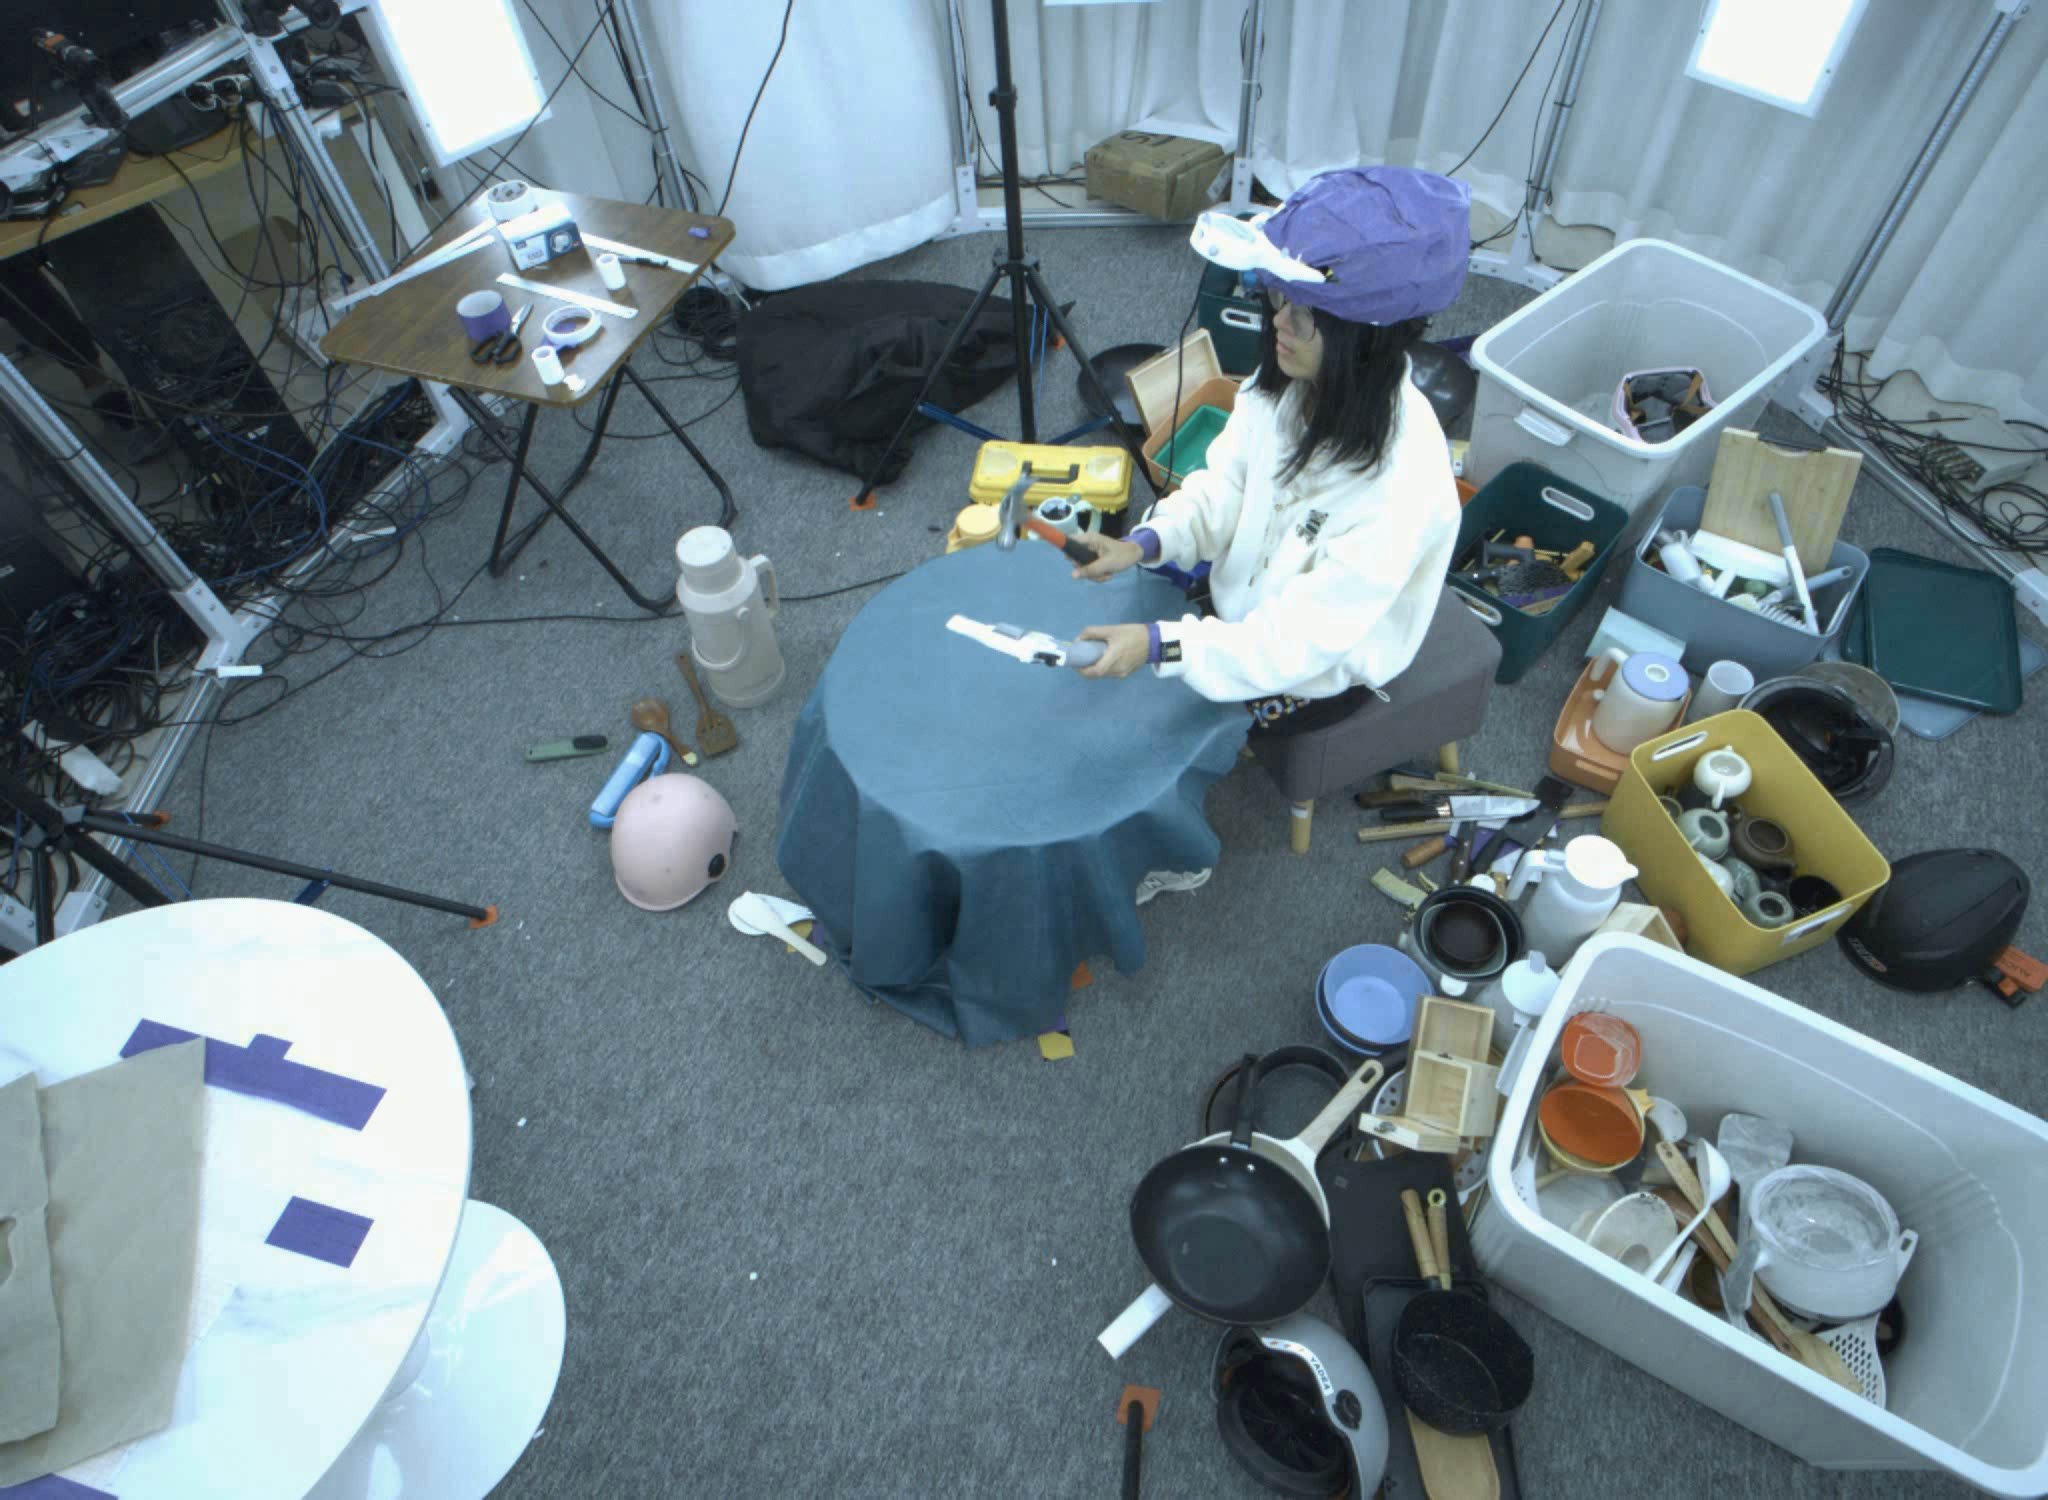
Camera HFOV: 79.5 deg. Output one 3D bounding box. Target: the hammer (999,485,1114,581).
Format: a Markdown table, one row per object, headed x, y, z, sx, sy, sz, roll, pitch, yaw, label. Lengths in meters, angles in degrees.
| x | y | z | sx | sy | sz | roll | pitch | yaw | label |
| --- | --- | --- | --- | --- | --- | --- | --- | --- | --- |
| 0.050 | -0.289 | 1.723 | 0.026 | 0.283 | 0.110 | -2 | 80 | 32 | hammer |

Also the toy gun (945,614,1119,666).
| x | y | z | sx | sy | sz | roll | pitch | yaw | label |
| --- | --- | --- | --- | --- | --- | --- | --- | --- | --- |
| 0.012 | -0.153 | 1.680 | 0.206 | 0.039 | 0.143 | 23 | 27 | 20 | toy gun |
